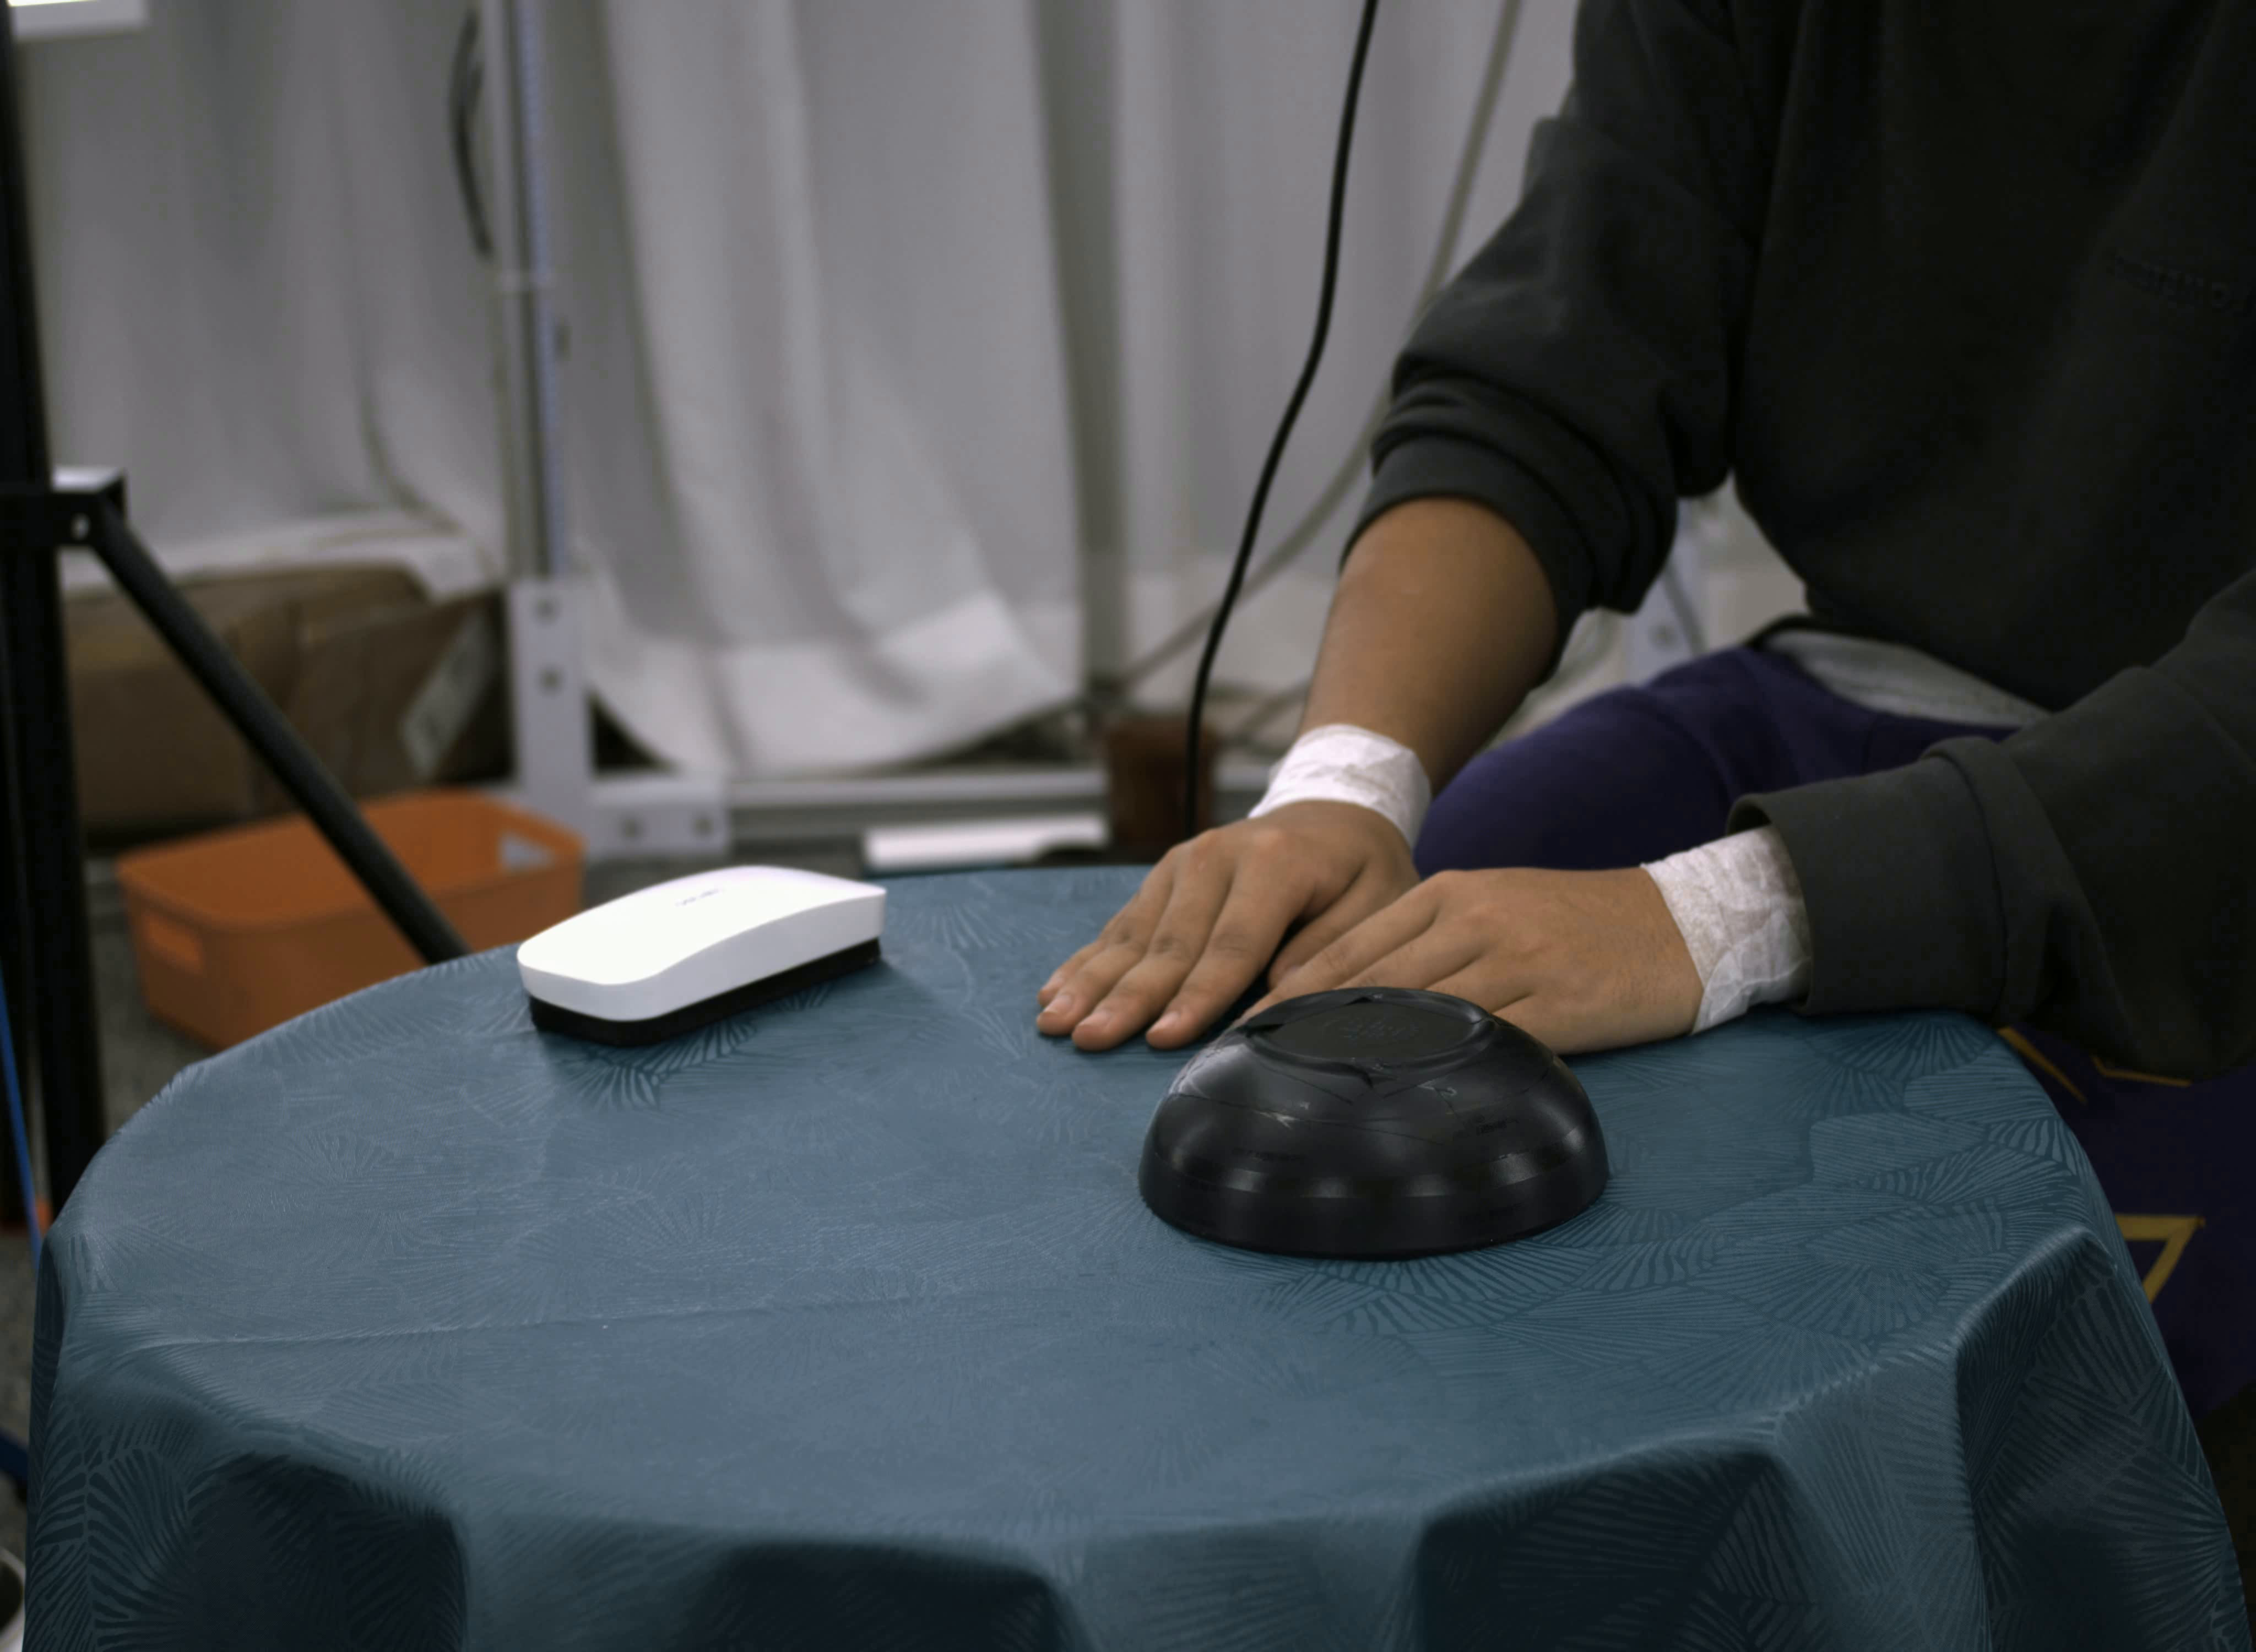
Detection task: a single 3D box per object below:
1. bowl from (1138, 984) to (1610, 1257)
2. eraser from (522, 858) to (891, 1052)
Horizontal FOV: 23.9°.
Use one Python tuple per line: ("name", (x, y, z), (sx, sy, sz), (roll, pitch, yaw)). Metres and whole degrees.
("bowl", (0.071, 0.080, 1.554), (0.139, 0.050, 0.141), (-5, 16, 0))
("eraser", (-0.137, 0.039, 1.767), (0.065, 0.034, 0.128), (13, 24, 41))
